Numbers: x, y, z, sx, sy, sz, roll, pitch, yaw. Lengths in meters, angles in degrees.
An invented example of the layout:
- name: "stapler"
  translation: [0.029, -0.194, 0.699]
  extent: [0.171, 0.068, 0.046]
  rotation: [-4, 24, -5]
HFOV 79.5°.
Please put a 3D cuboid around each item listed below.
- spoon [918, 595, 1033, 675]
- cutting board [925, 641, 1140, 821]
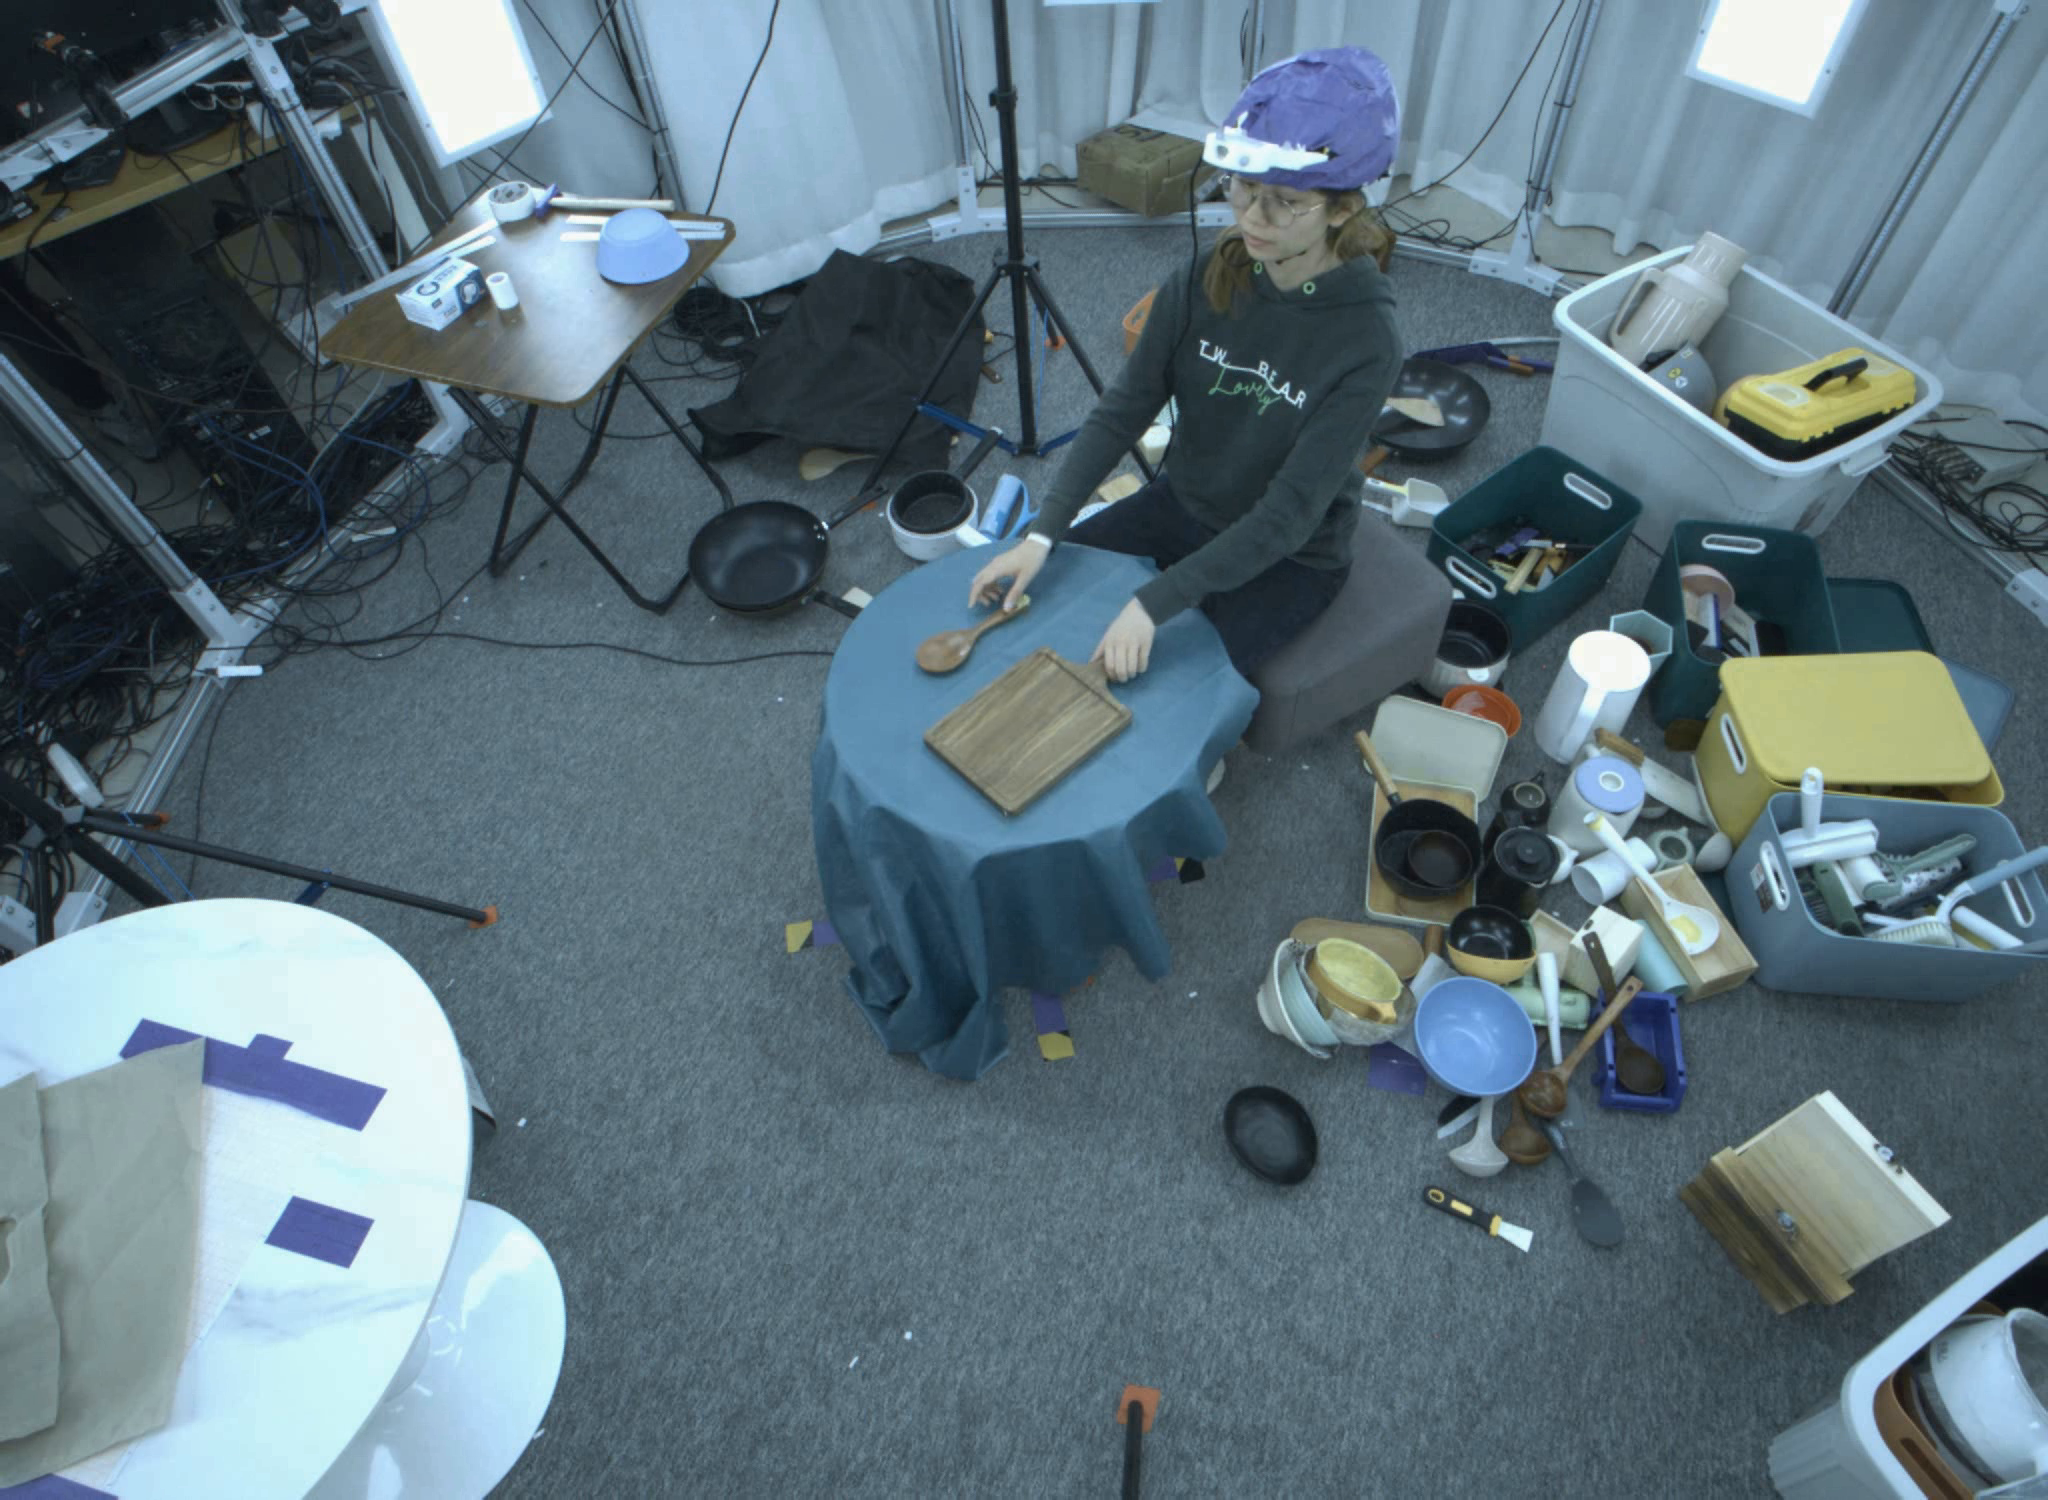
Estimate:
- name: "spoon"
  translation: [-0.073, -0.180, 1.915]
  extent: [0.217, 0.017, 0.074]
  rotation: [-36, 59, -20]
- name: "cutting board"
  translation: [0.045, -0.056, 1.825]
  extent: [0.355, 0.023, 0.197]
  rotation: [-38, 61, -23]
